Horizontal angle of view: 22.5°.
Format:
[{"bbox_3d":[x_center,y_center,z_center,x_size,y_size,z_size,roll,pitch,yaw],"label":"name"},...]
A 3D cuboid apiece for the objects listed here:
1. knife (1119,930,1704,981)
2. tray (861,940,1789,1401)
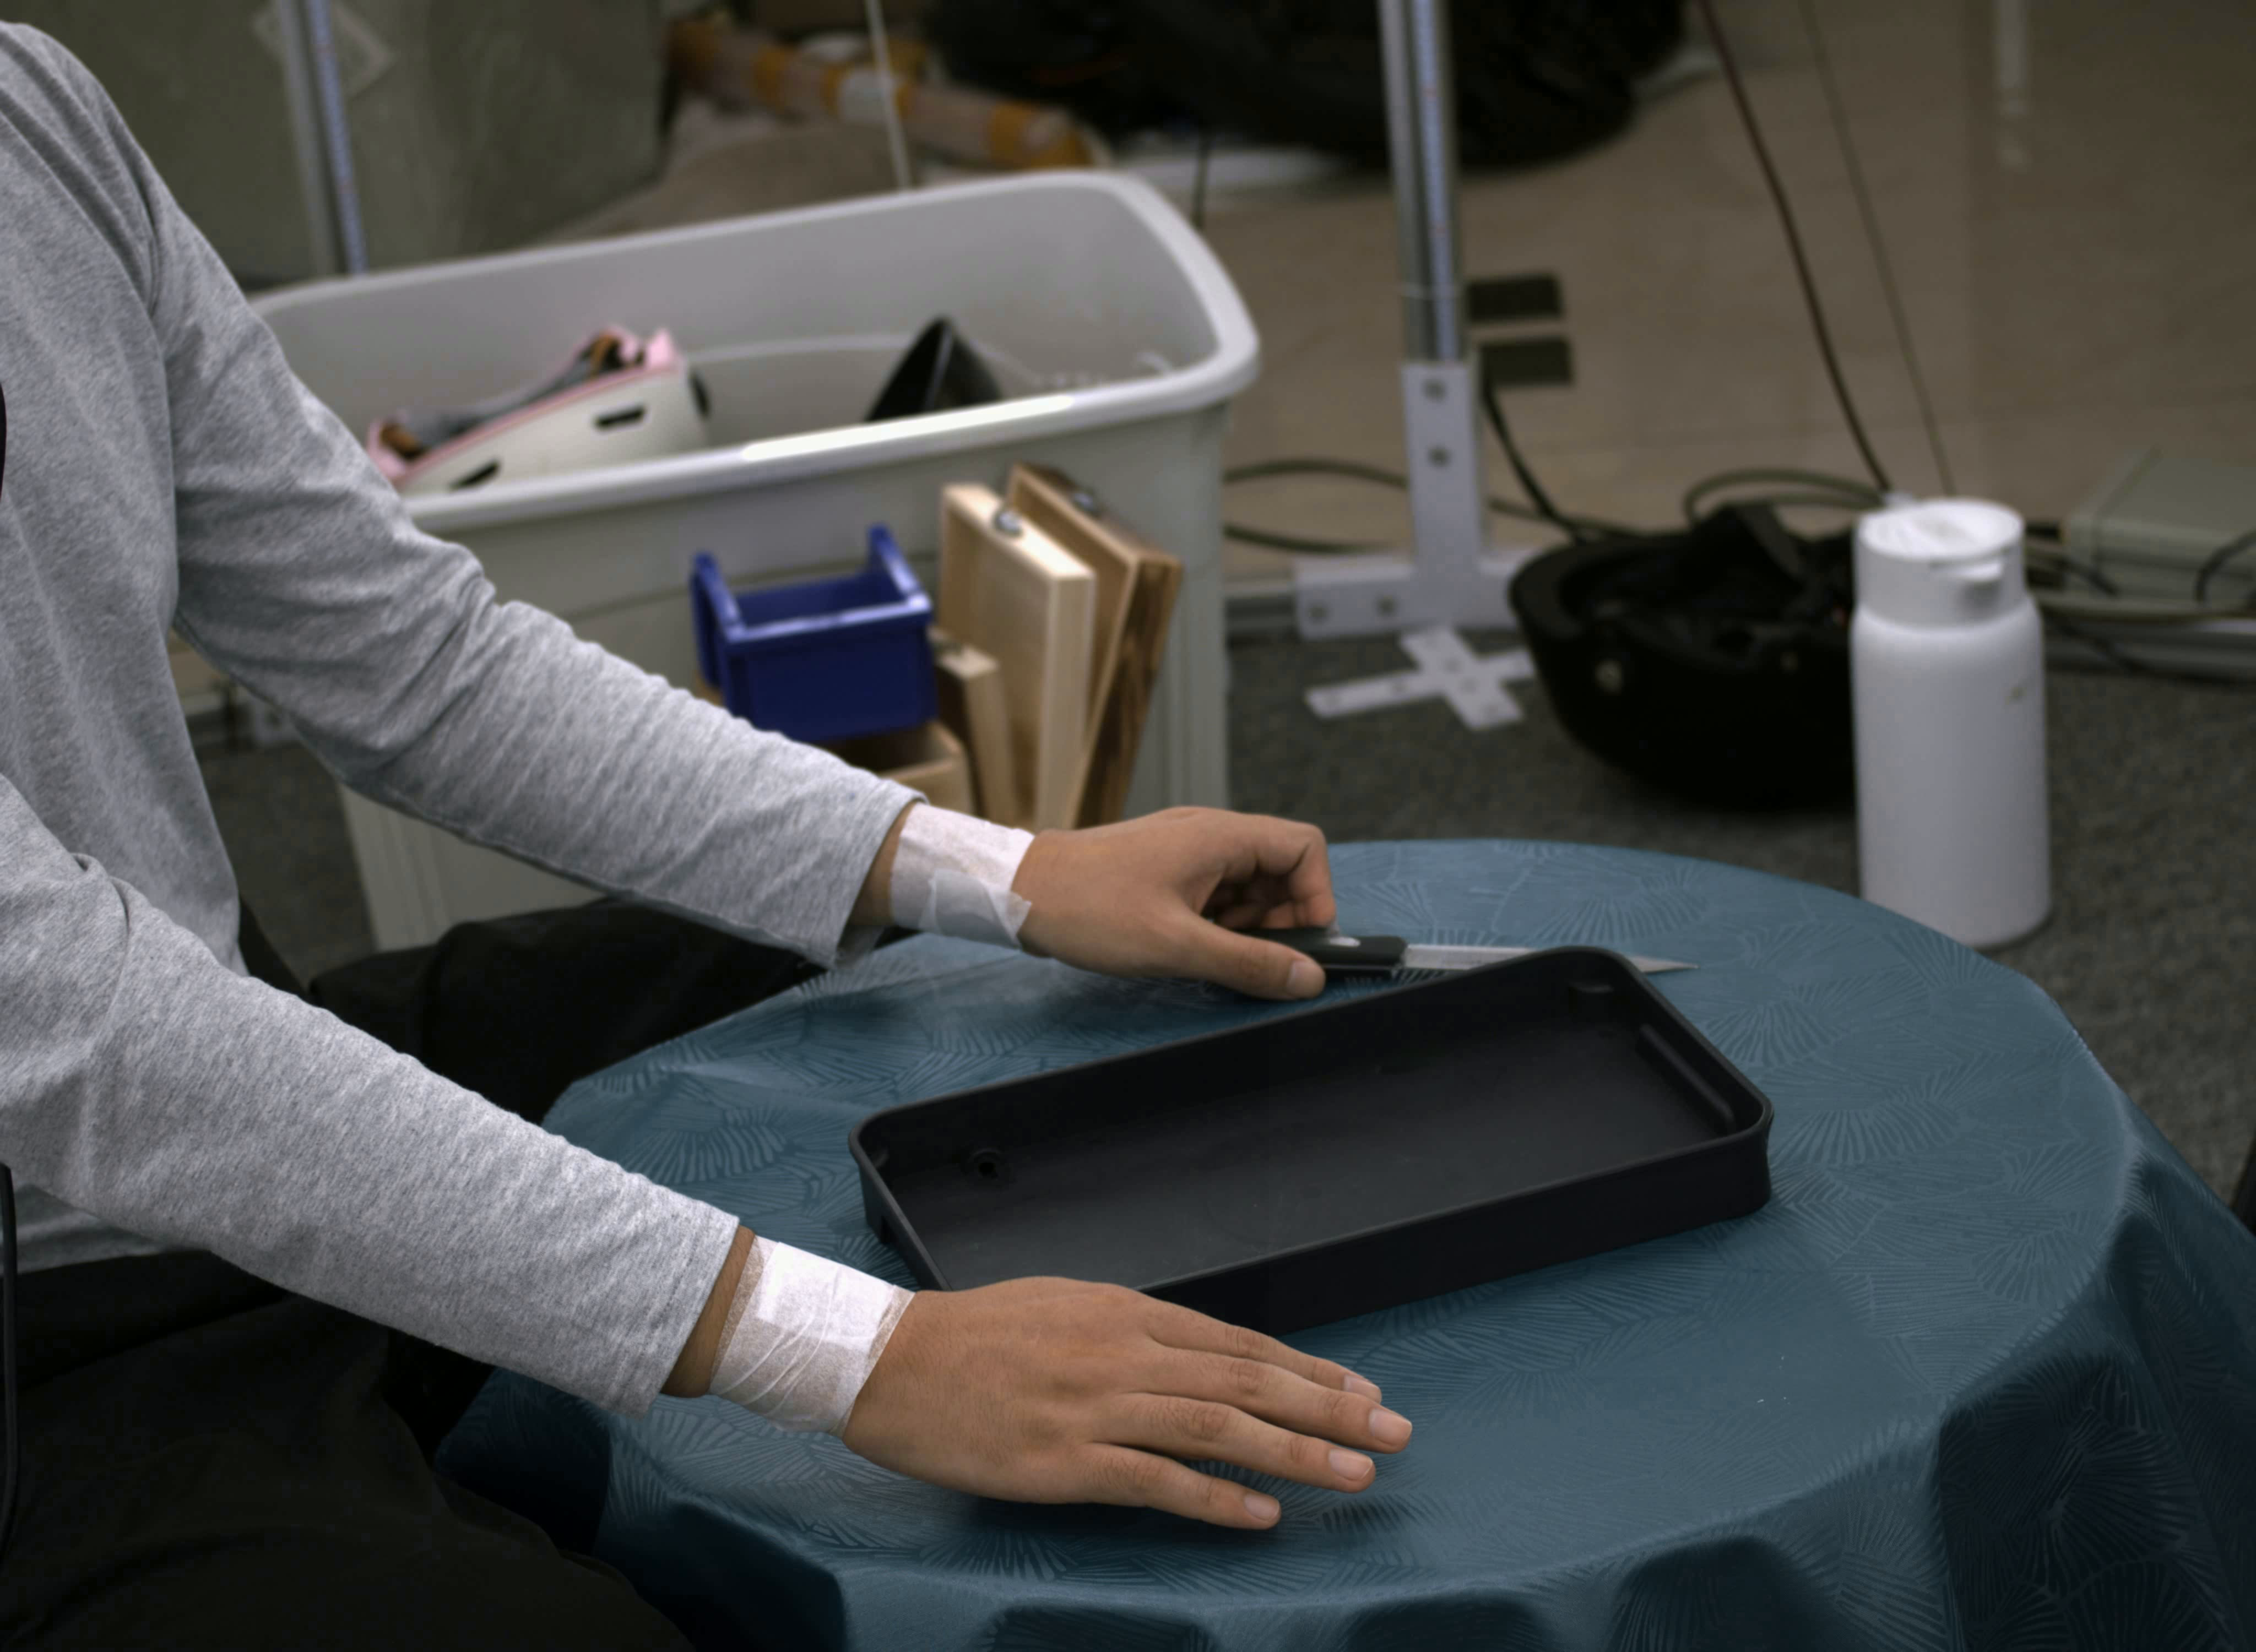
[{"bbox_3d":[0.113,0.054,2.290,0.237,0.016,0.024,1,26,8],"label":"knife"},{"bbox_3d":[0.073,0.125,2.122,0.317,0.037,0.182,-14,25,-15],"label":"tray"}]
